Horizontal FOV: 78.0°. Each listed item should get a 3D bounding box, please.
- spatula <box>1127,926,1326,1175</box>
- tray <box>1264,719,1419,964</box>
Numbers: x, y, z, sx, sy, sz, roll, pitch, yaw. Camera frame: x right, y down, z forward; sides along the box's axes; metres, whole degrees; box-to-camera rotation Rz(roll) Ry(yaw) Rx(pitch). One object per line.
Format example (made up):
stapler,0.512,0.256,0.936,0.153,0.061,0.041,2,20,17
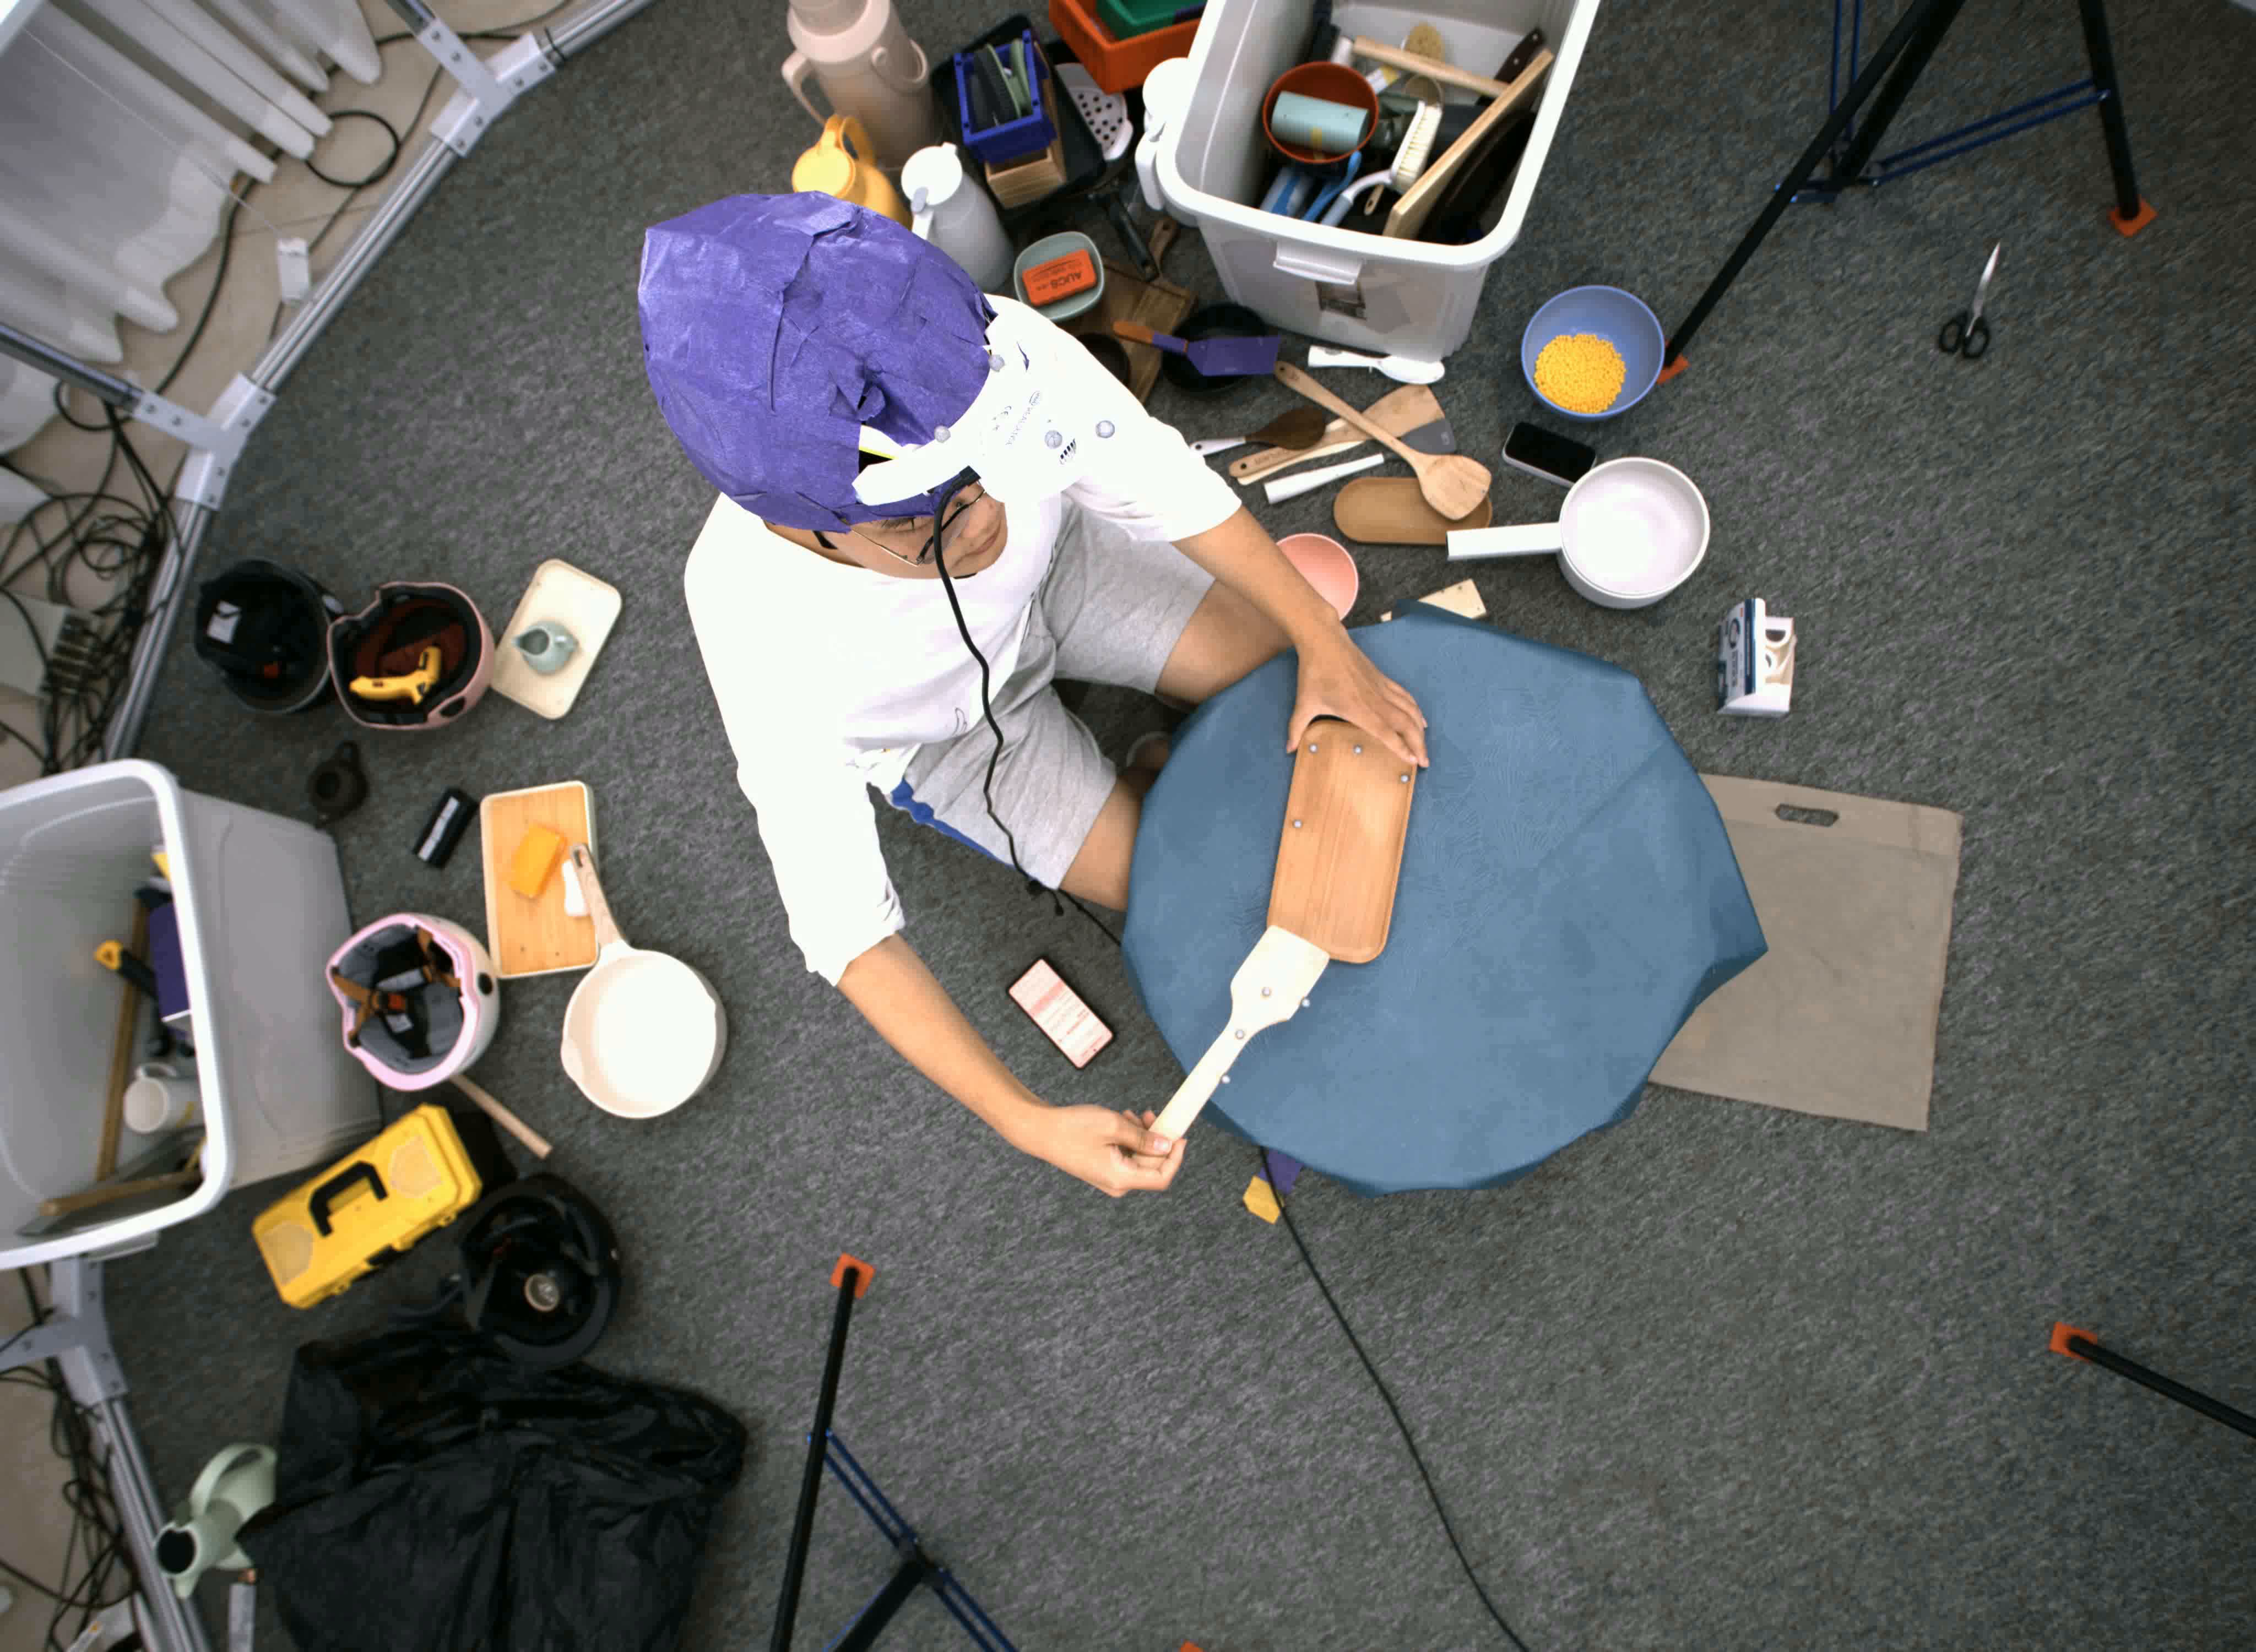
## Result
spatula,0.090,0.213,1.319,0.072,0.011,0.287,29,61,20
tray,0.226,0.015,1.464,0.131,0.023,0.250,12,90,13
